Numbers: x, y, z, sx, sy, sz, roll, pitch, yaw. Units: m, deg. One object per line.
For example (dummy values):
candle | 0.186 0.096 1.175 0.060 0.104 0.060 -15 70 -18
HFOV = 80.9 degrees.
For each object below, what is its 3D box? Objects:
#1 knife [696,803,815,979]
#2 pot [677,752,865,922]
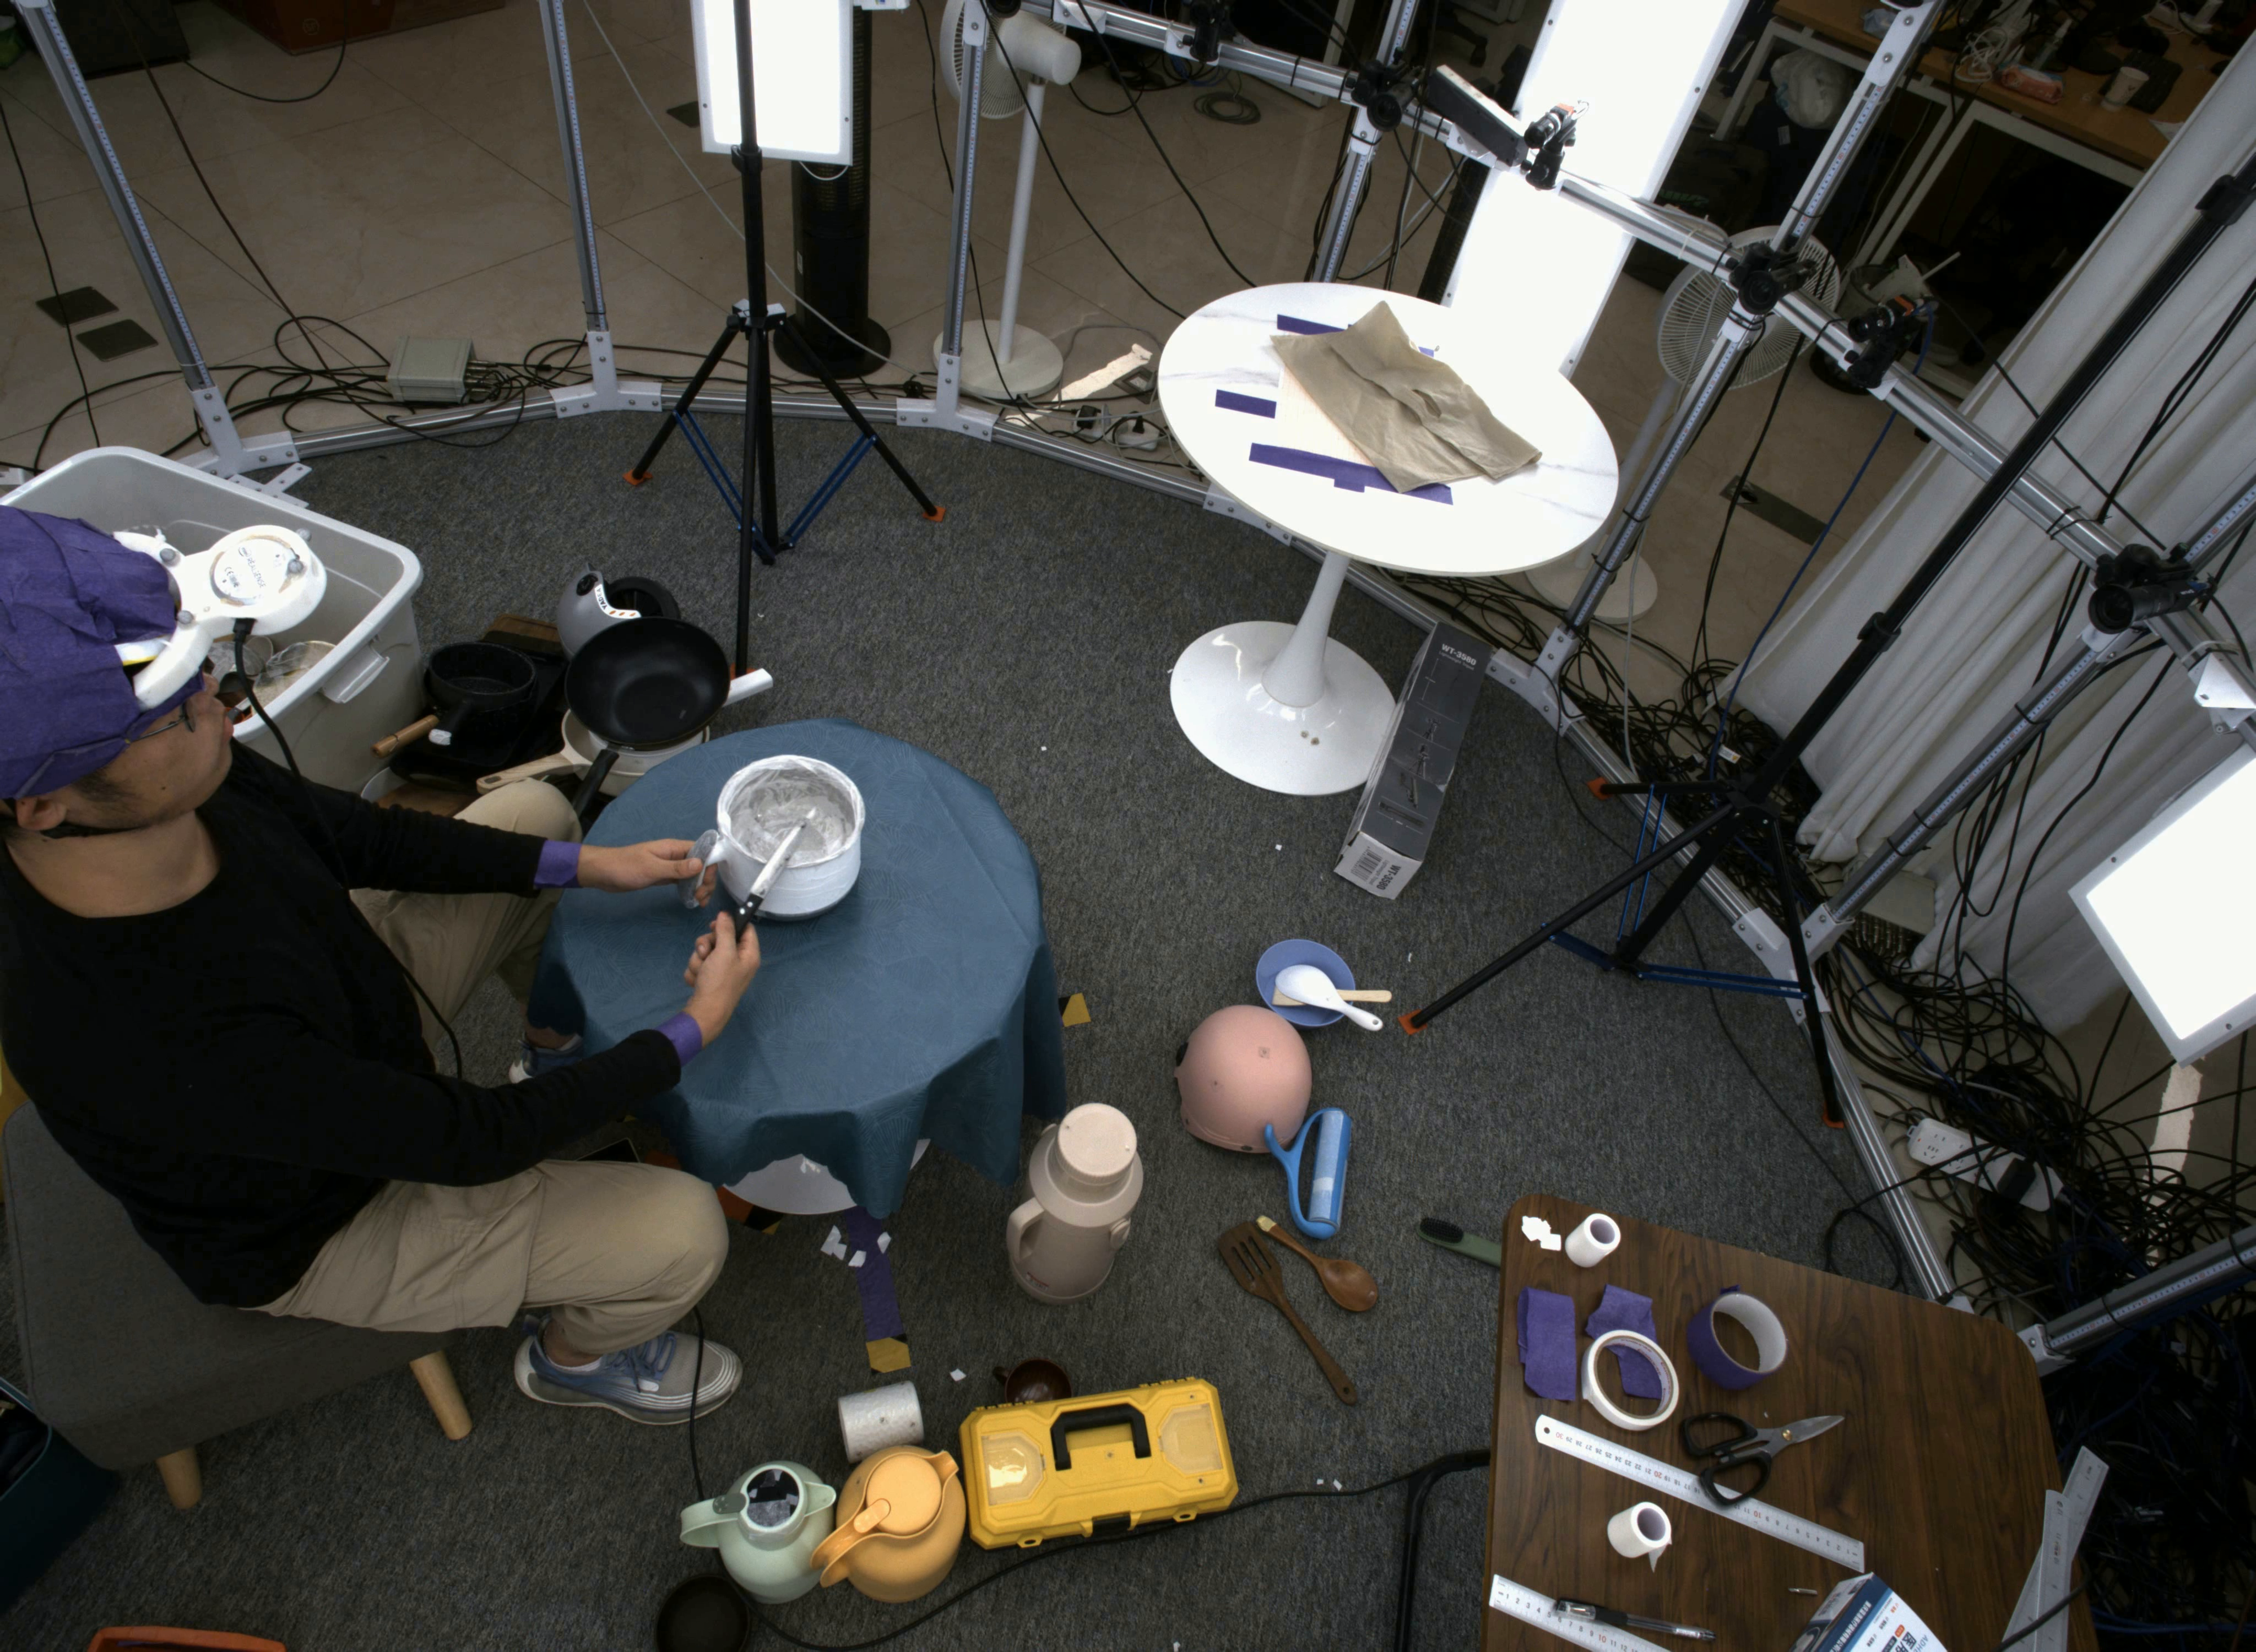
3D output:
knife | -0.426 0.073 1.499 0.024 0.016 0.238 28 74 7
pot | -0.443 0.025 1.600 0.235 0.139 0.174 -21 60 -32
